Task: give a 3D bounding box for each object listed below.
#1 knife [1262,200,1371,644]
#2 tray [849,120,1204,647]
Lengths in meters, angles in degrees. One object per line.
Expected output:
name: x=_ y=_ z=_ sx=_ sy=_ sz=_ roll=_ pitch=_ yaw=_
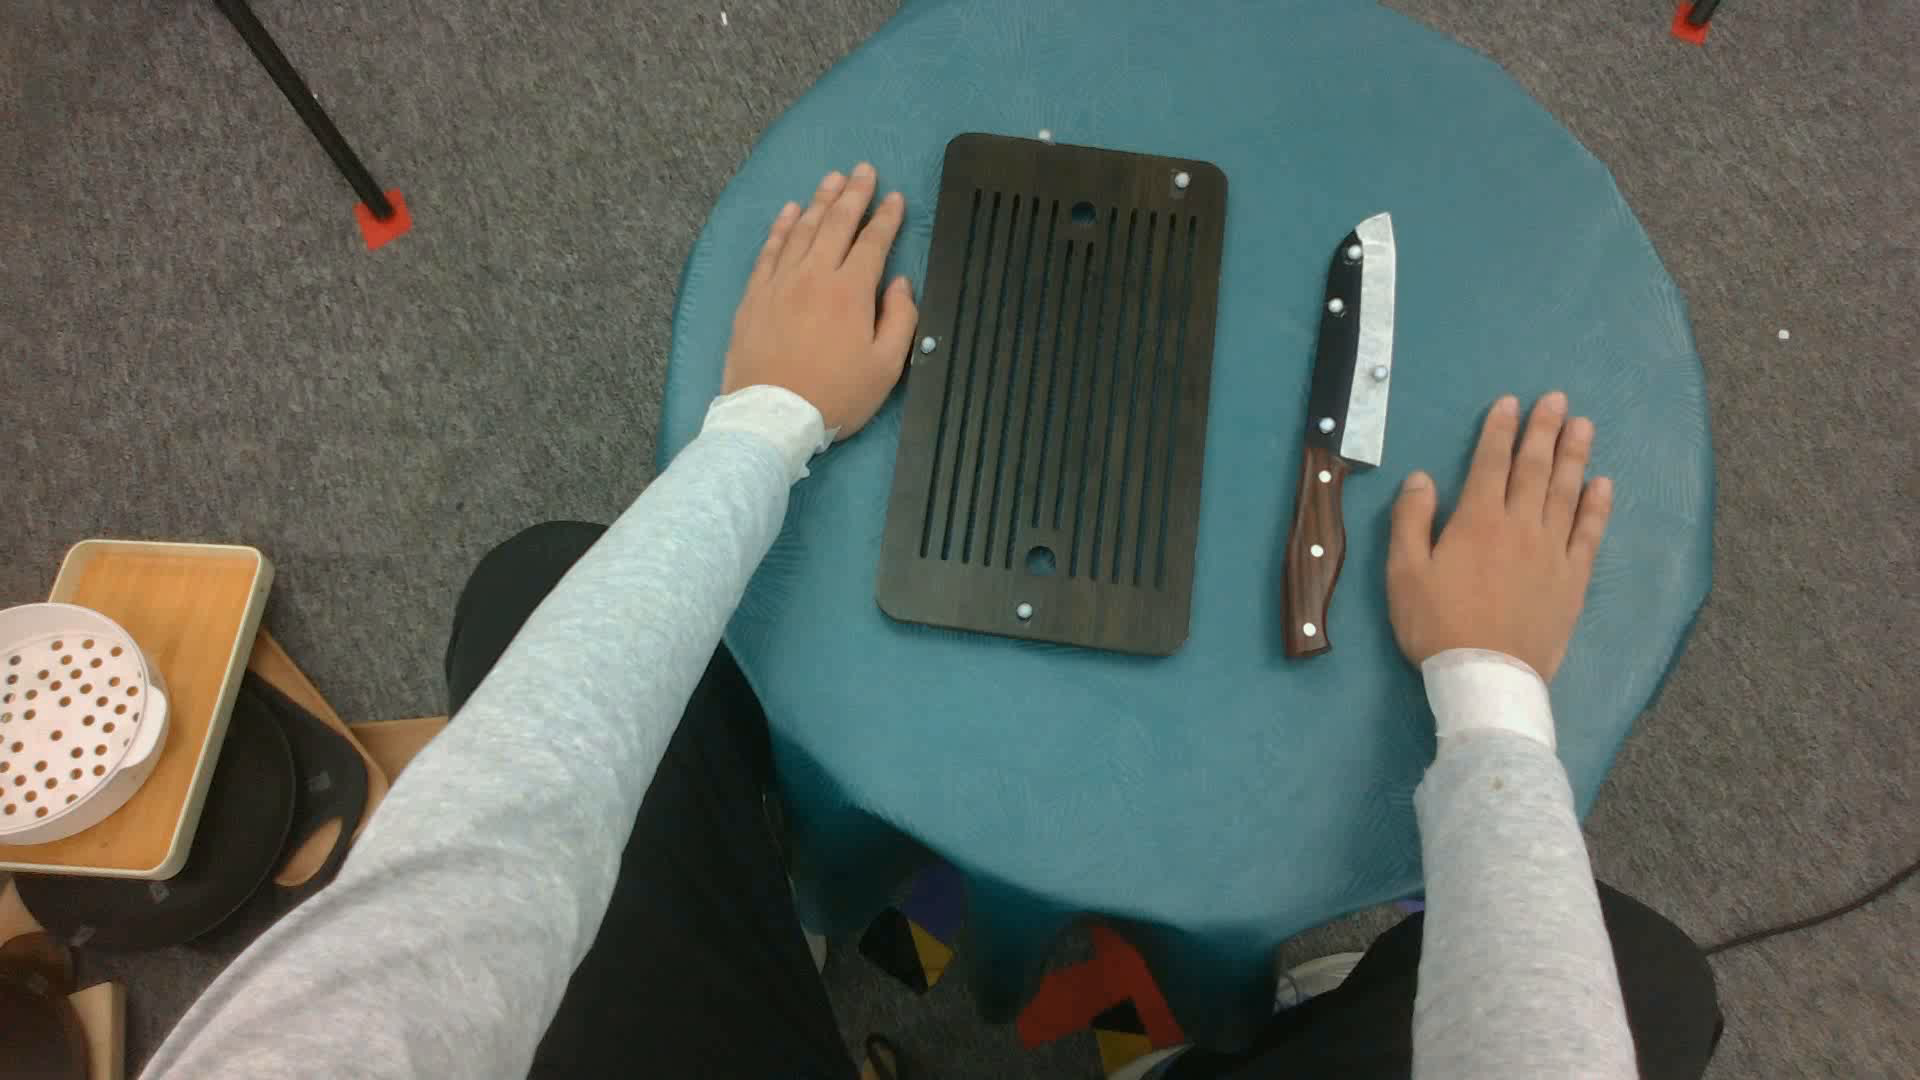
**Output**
knife: x=0.205 y=-0.075 z=0.780 sx=0.050 sy=0.020 sz=0.290 roll=15 pitch=69 yaw=-2
tray: x=0.043 y=-0.096 z=0.780 sx=0.170 sy=0.018 sz=0.307 roll=8 pitch=72 yaw=0
